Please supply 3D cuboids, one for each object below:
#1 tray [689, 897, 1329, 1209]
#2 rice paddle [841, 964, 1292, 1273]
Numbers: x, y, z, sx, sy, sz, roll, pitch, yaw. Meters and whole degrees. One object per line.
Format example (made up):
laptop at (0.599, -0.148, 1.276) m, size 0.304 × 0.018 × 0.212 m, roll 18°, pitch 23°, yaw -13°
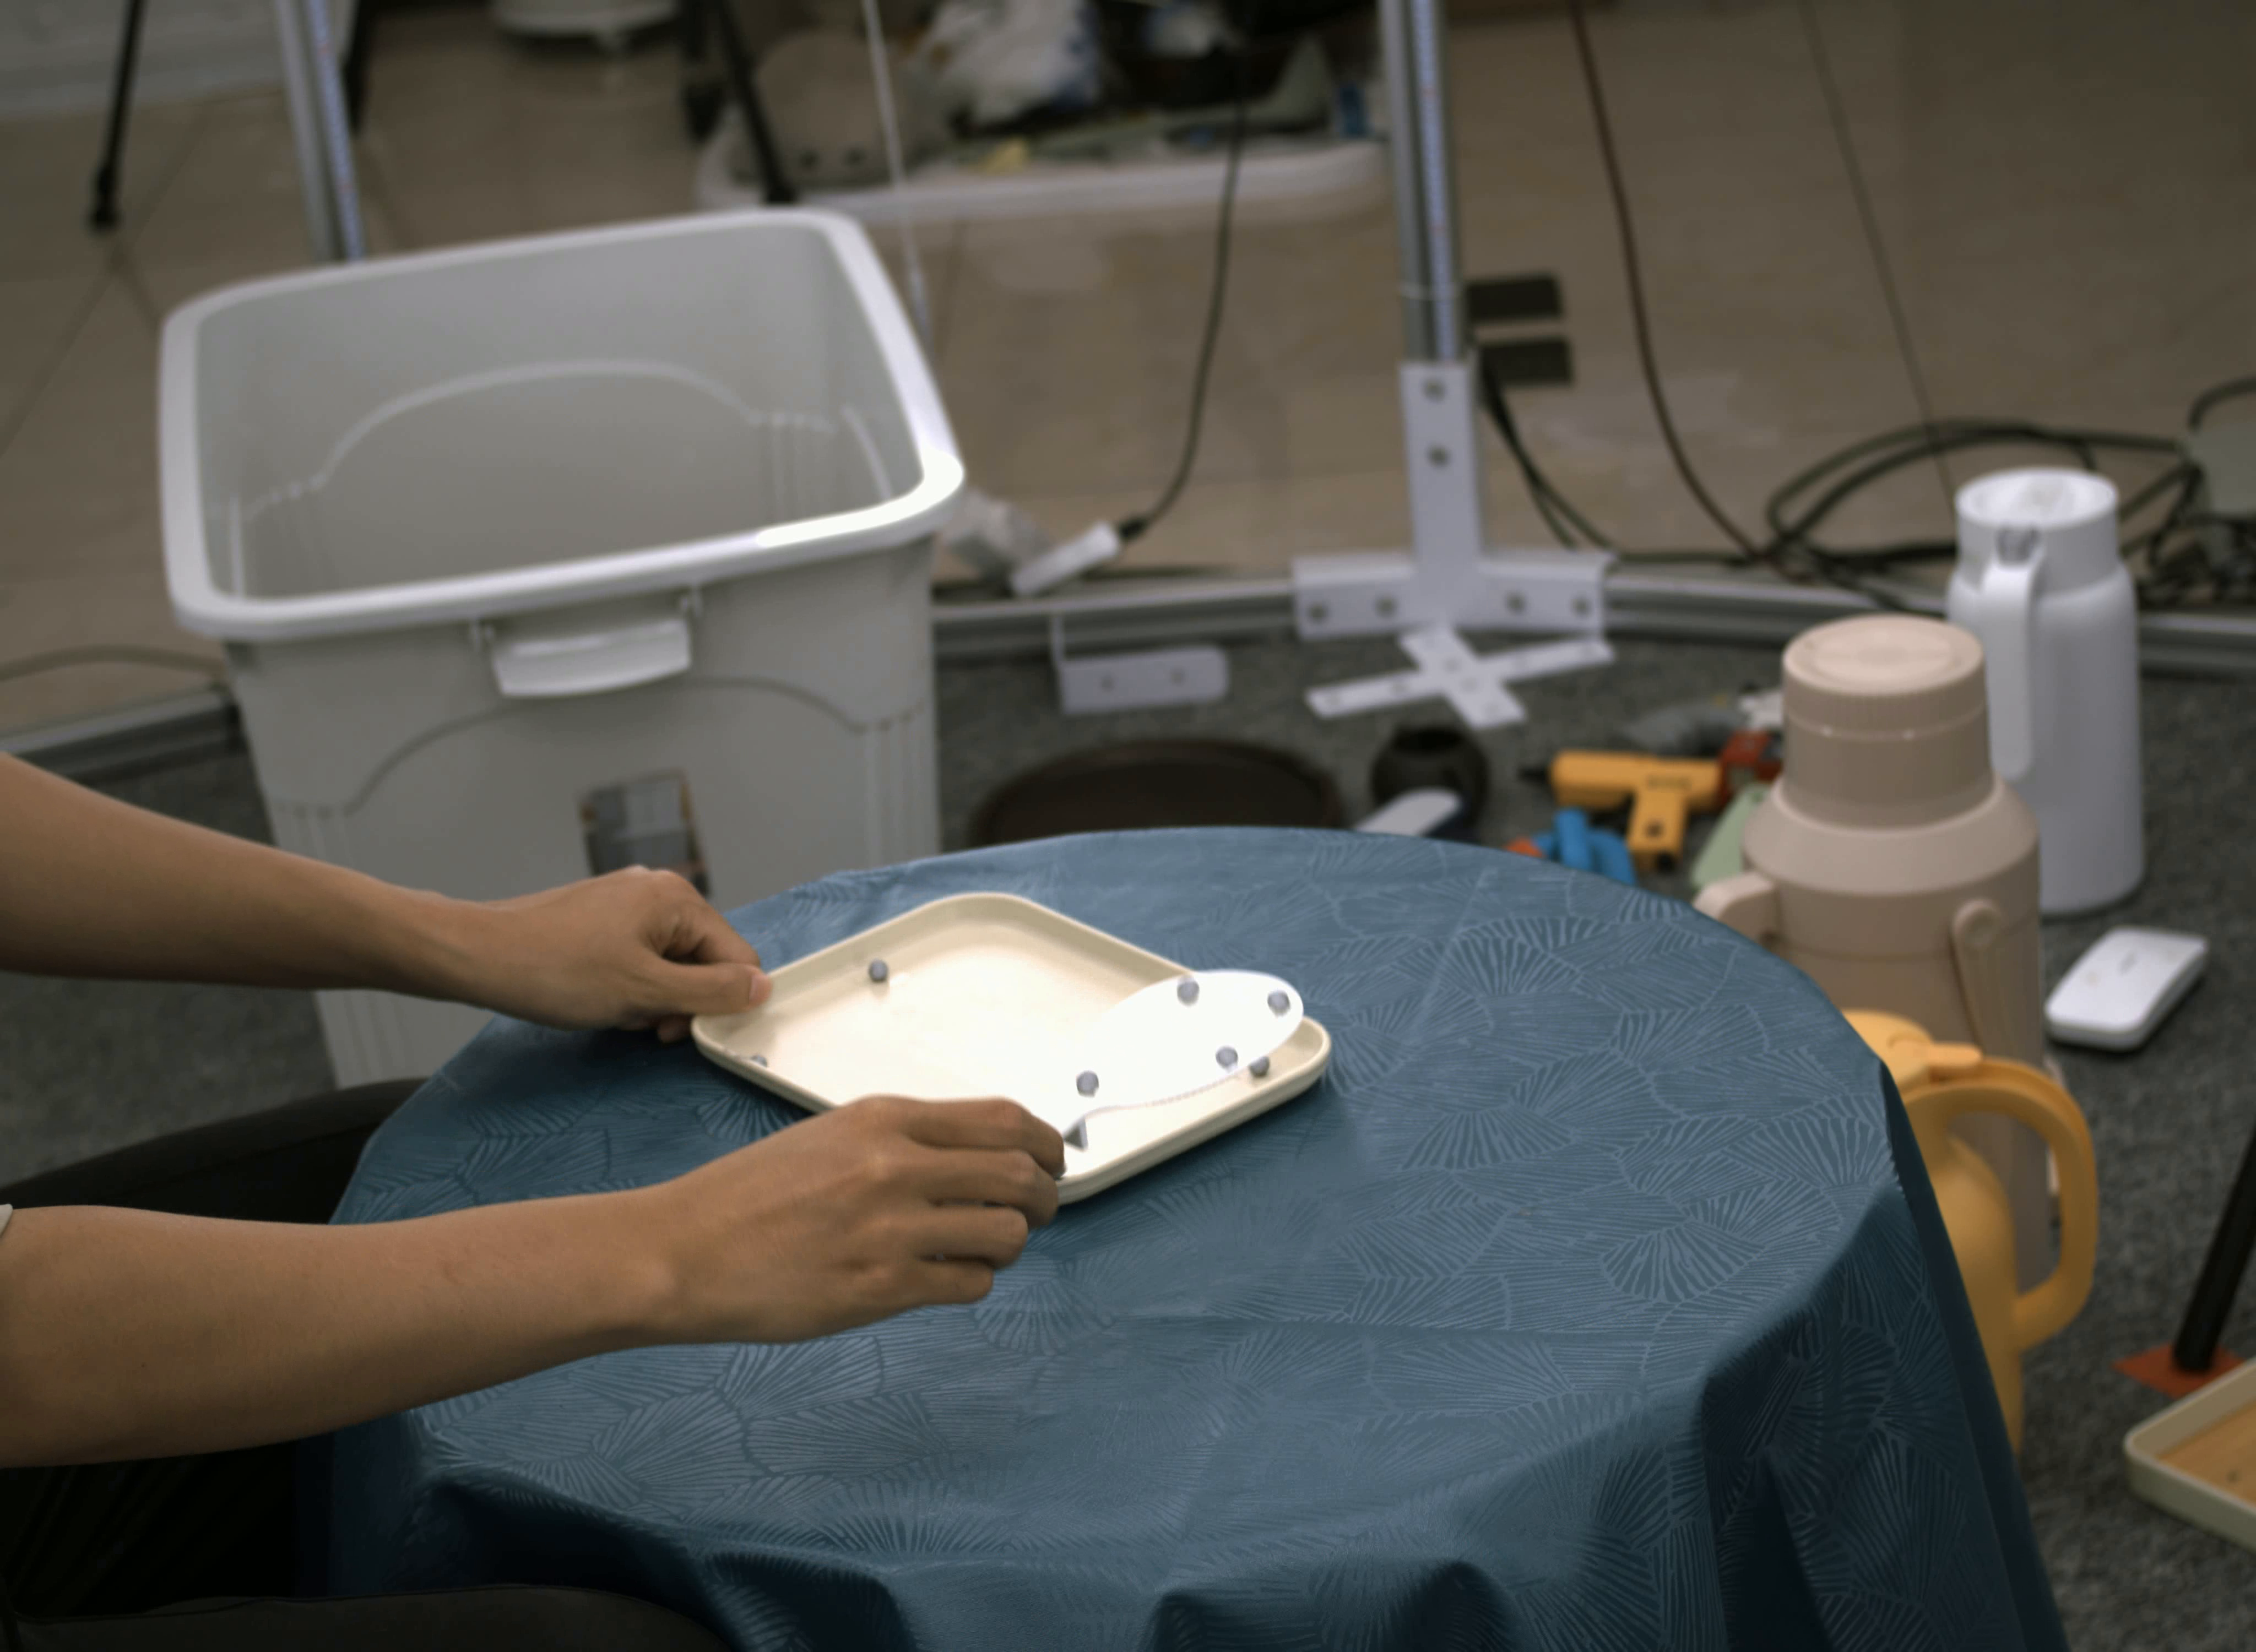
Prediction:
tray at (-0.048, 0.089, 2.251) m, size 0.170 × 0.018 × 0.237 m, roll -23°, pitch 30°, yaw -34°
rice paddle at (-0.020, 0.096, 2.015) m, size 0.068 × 0.030 × 0.203 m, roll 21°, pitch 42°, yaw 40°
